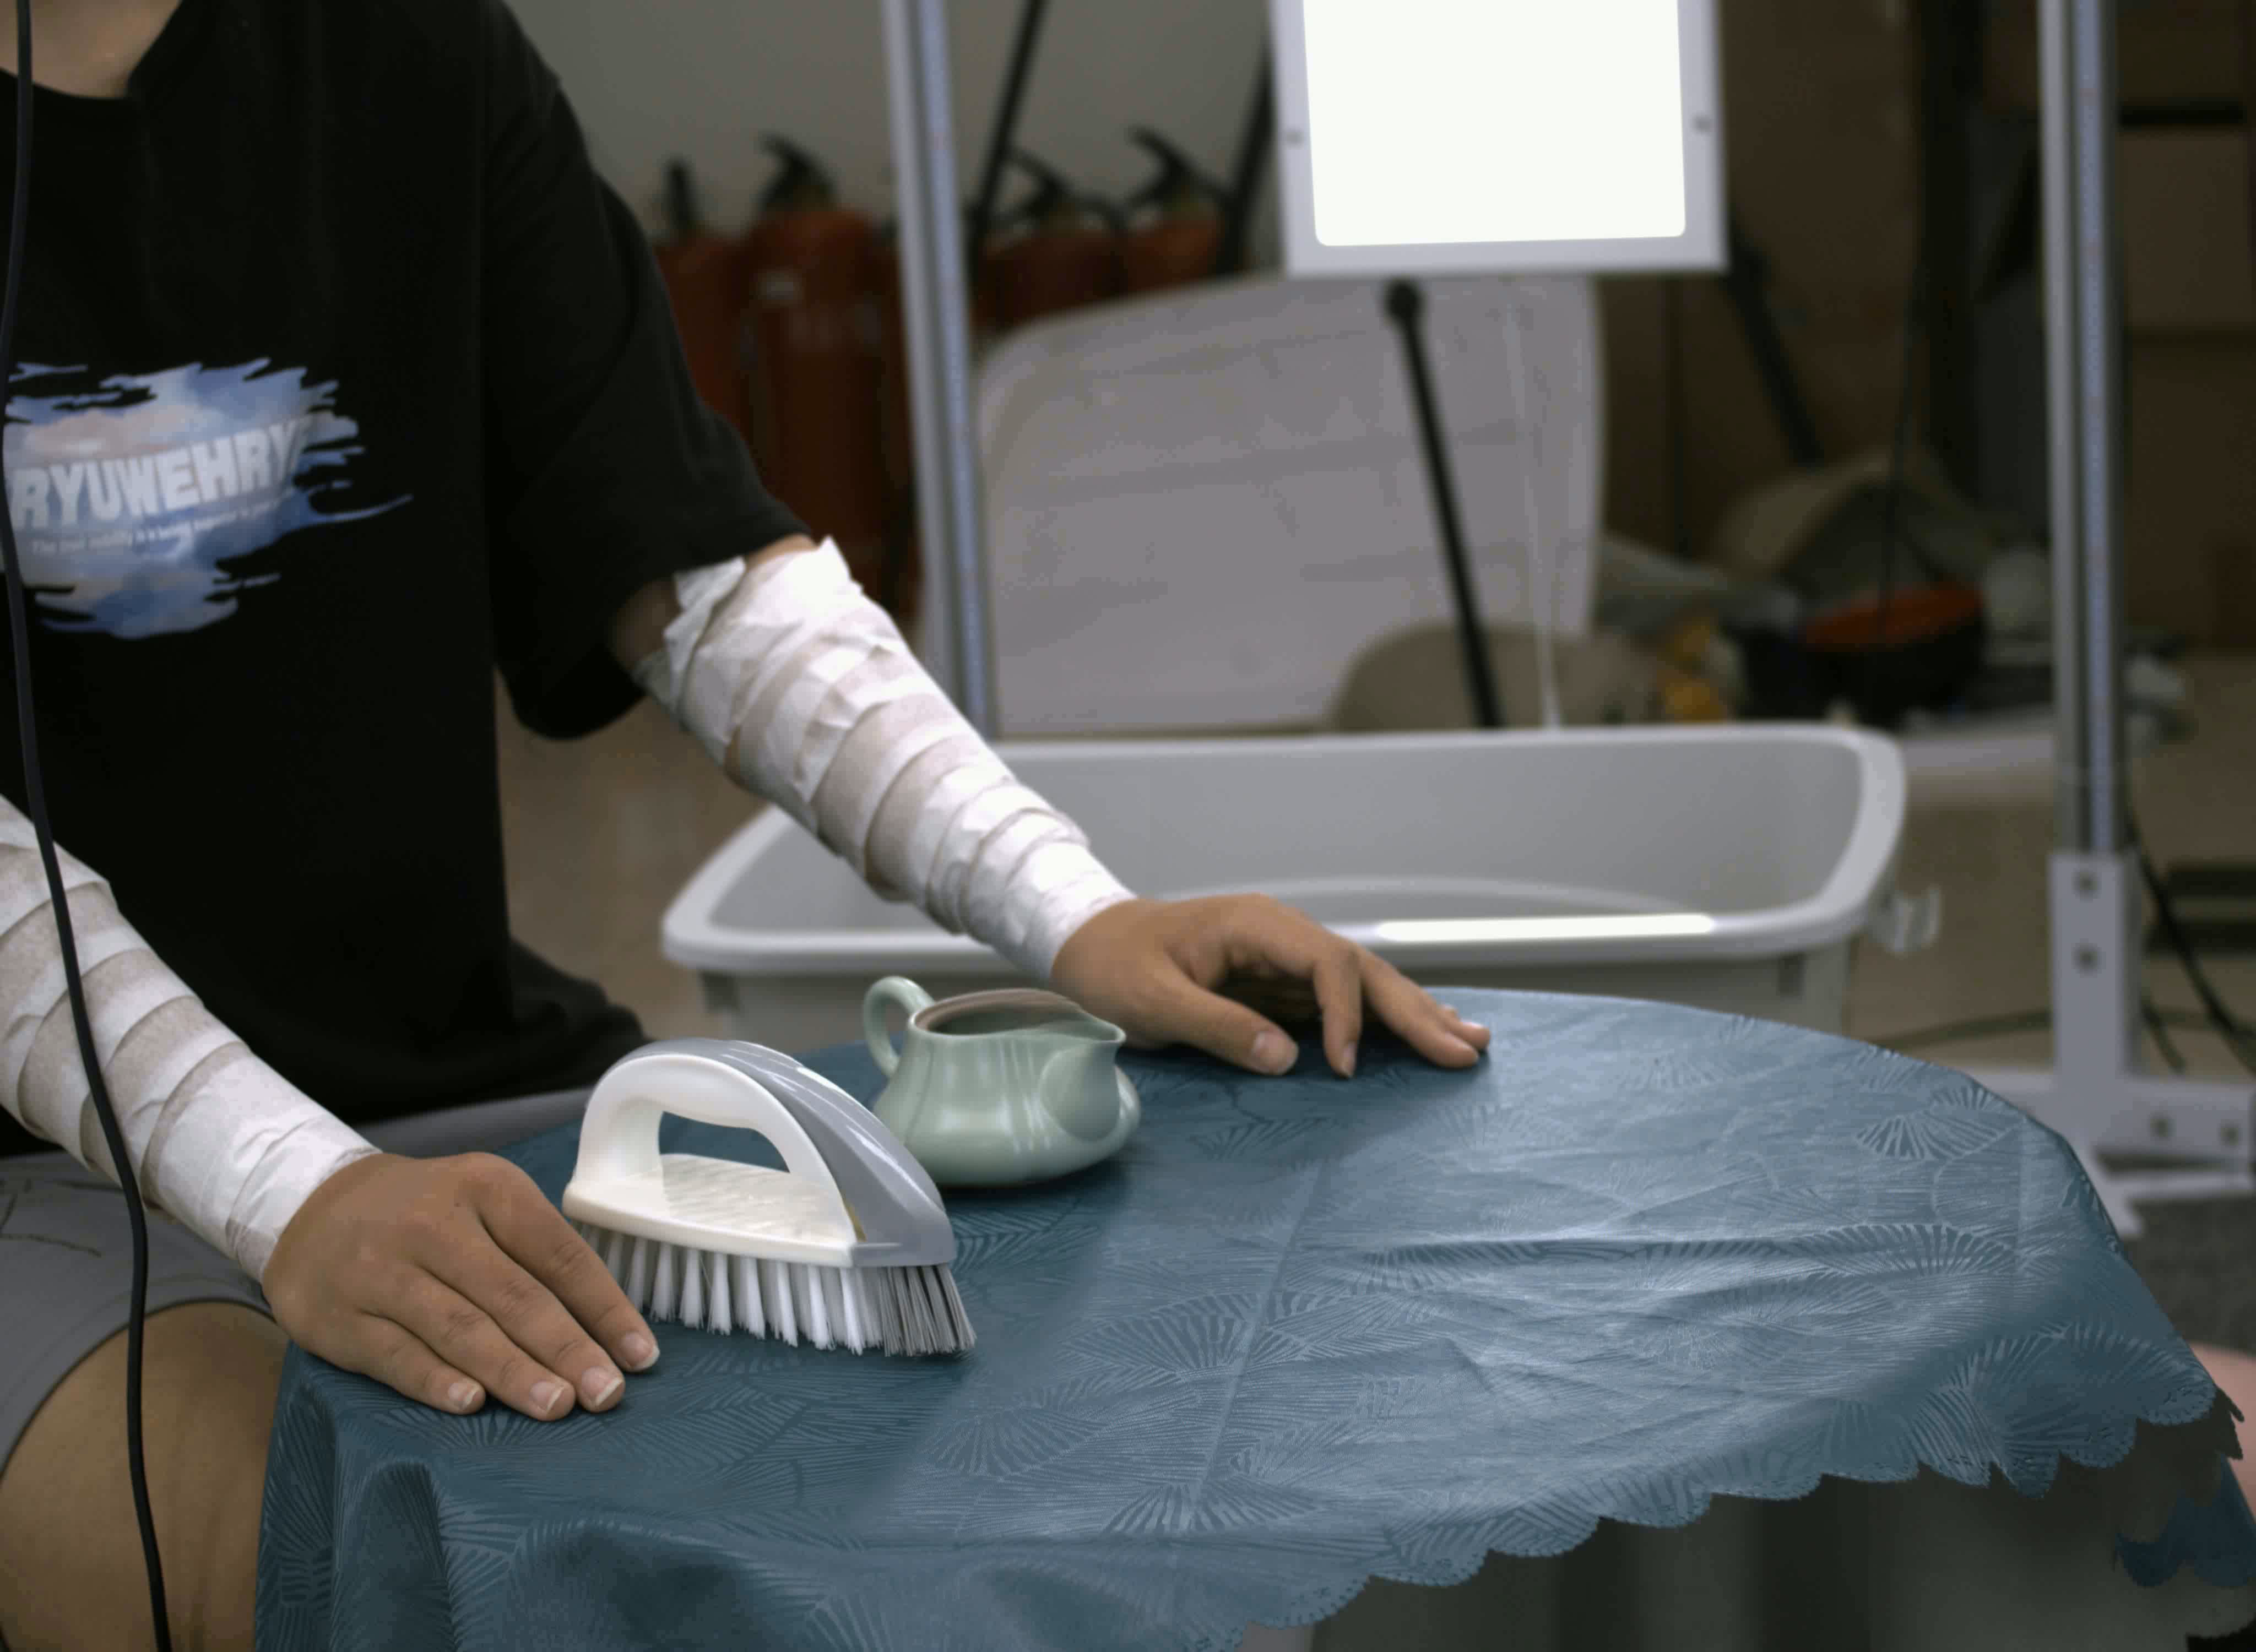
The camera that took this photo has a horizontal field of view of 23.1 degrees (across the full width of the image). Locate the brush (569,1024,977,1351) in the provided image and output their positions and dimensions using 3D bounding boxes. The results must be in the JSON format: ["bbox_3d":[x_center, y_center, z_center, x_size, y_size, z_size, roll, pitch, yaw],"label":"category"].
[{"bbox_3d":[-0.115,0.115,1.797,0.060,0.094,0.179,-21,22,-40],"label":"brush"}]

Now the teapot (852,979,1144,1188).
[{"bbox_3d":[-0.047,0.090,1.938,0.094,0.061,0.140,-20,20,-41],"label":"teapot"}]
